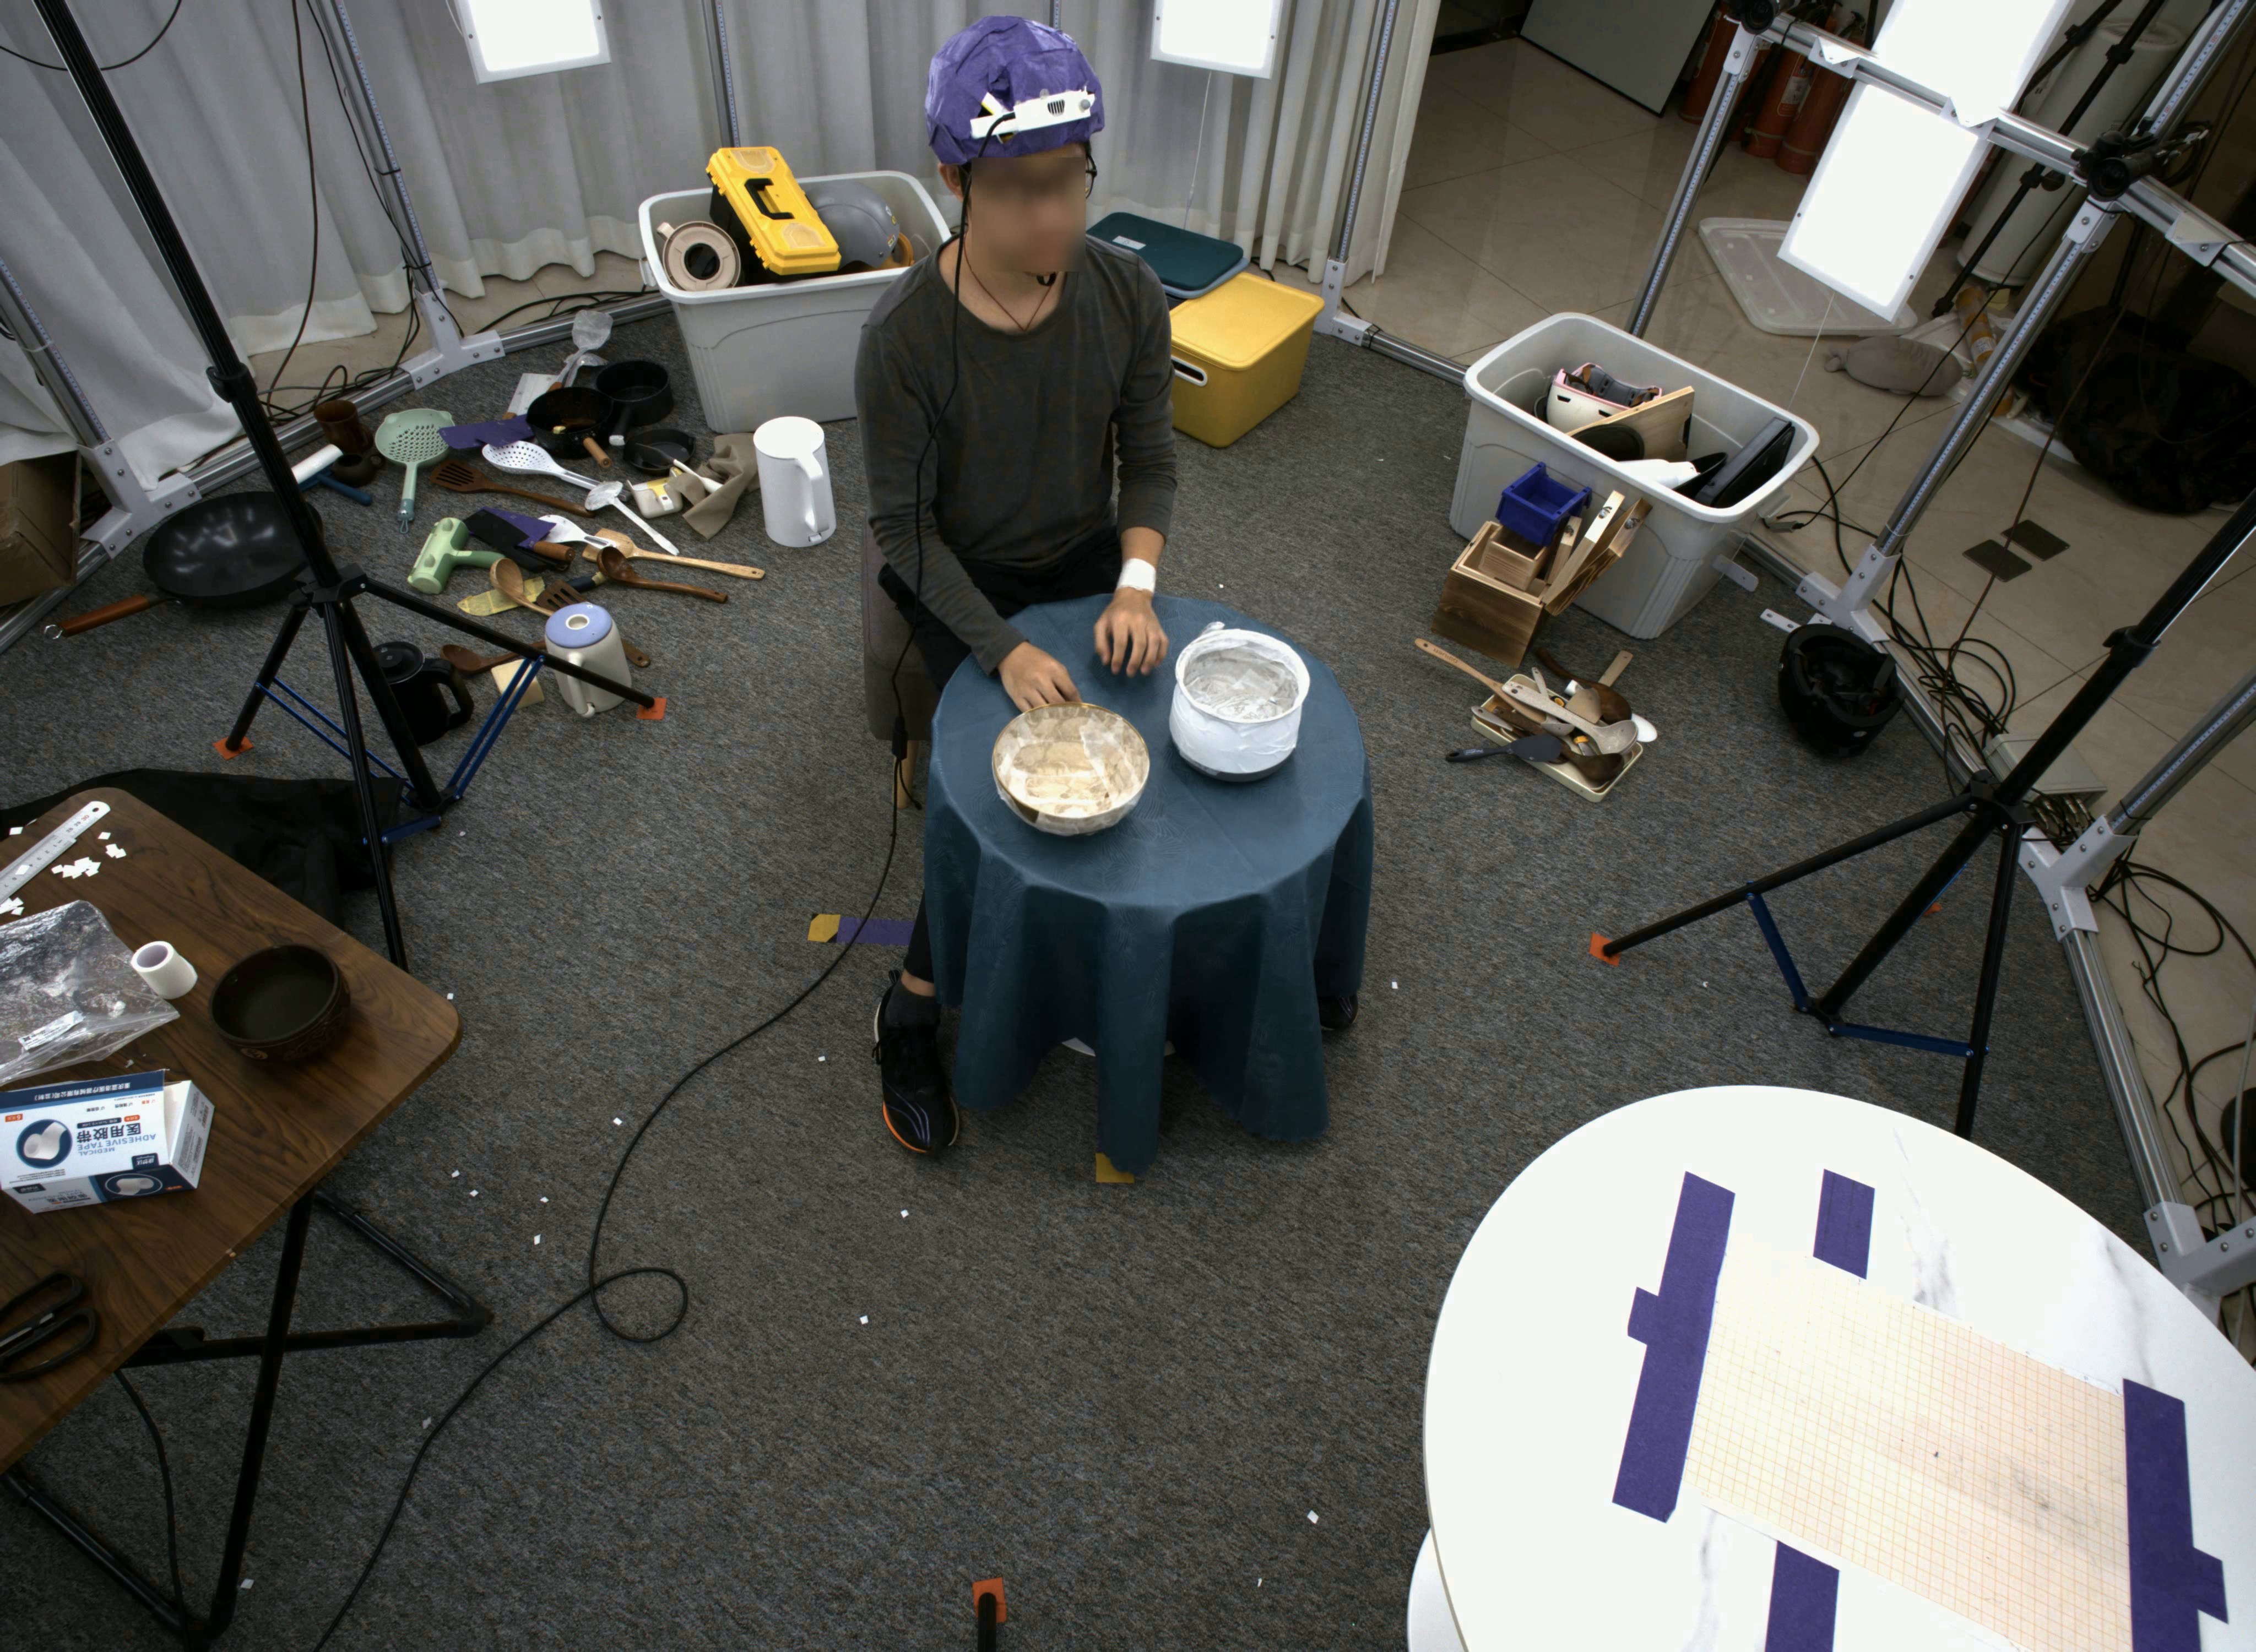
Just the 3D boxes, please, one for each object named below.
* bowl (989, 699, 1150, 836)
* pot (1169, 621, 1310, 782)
[{"bbox_3d":[-0.074,-0.062,1.655,0.214,0.092,0.220,1,49,-1],"label":"bowl"},{"bbox_3d":[0.138,-0.179,1.743,0.178,0.133,0.239,-11,51,-13],"label":"pot"}]
